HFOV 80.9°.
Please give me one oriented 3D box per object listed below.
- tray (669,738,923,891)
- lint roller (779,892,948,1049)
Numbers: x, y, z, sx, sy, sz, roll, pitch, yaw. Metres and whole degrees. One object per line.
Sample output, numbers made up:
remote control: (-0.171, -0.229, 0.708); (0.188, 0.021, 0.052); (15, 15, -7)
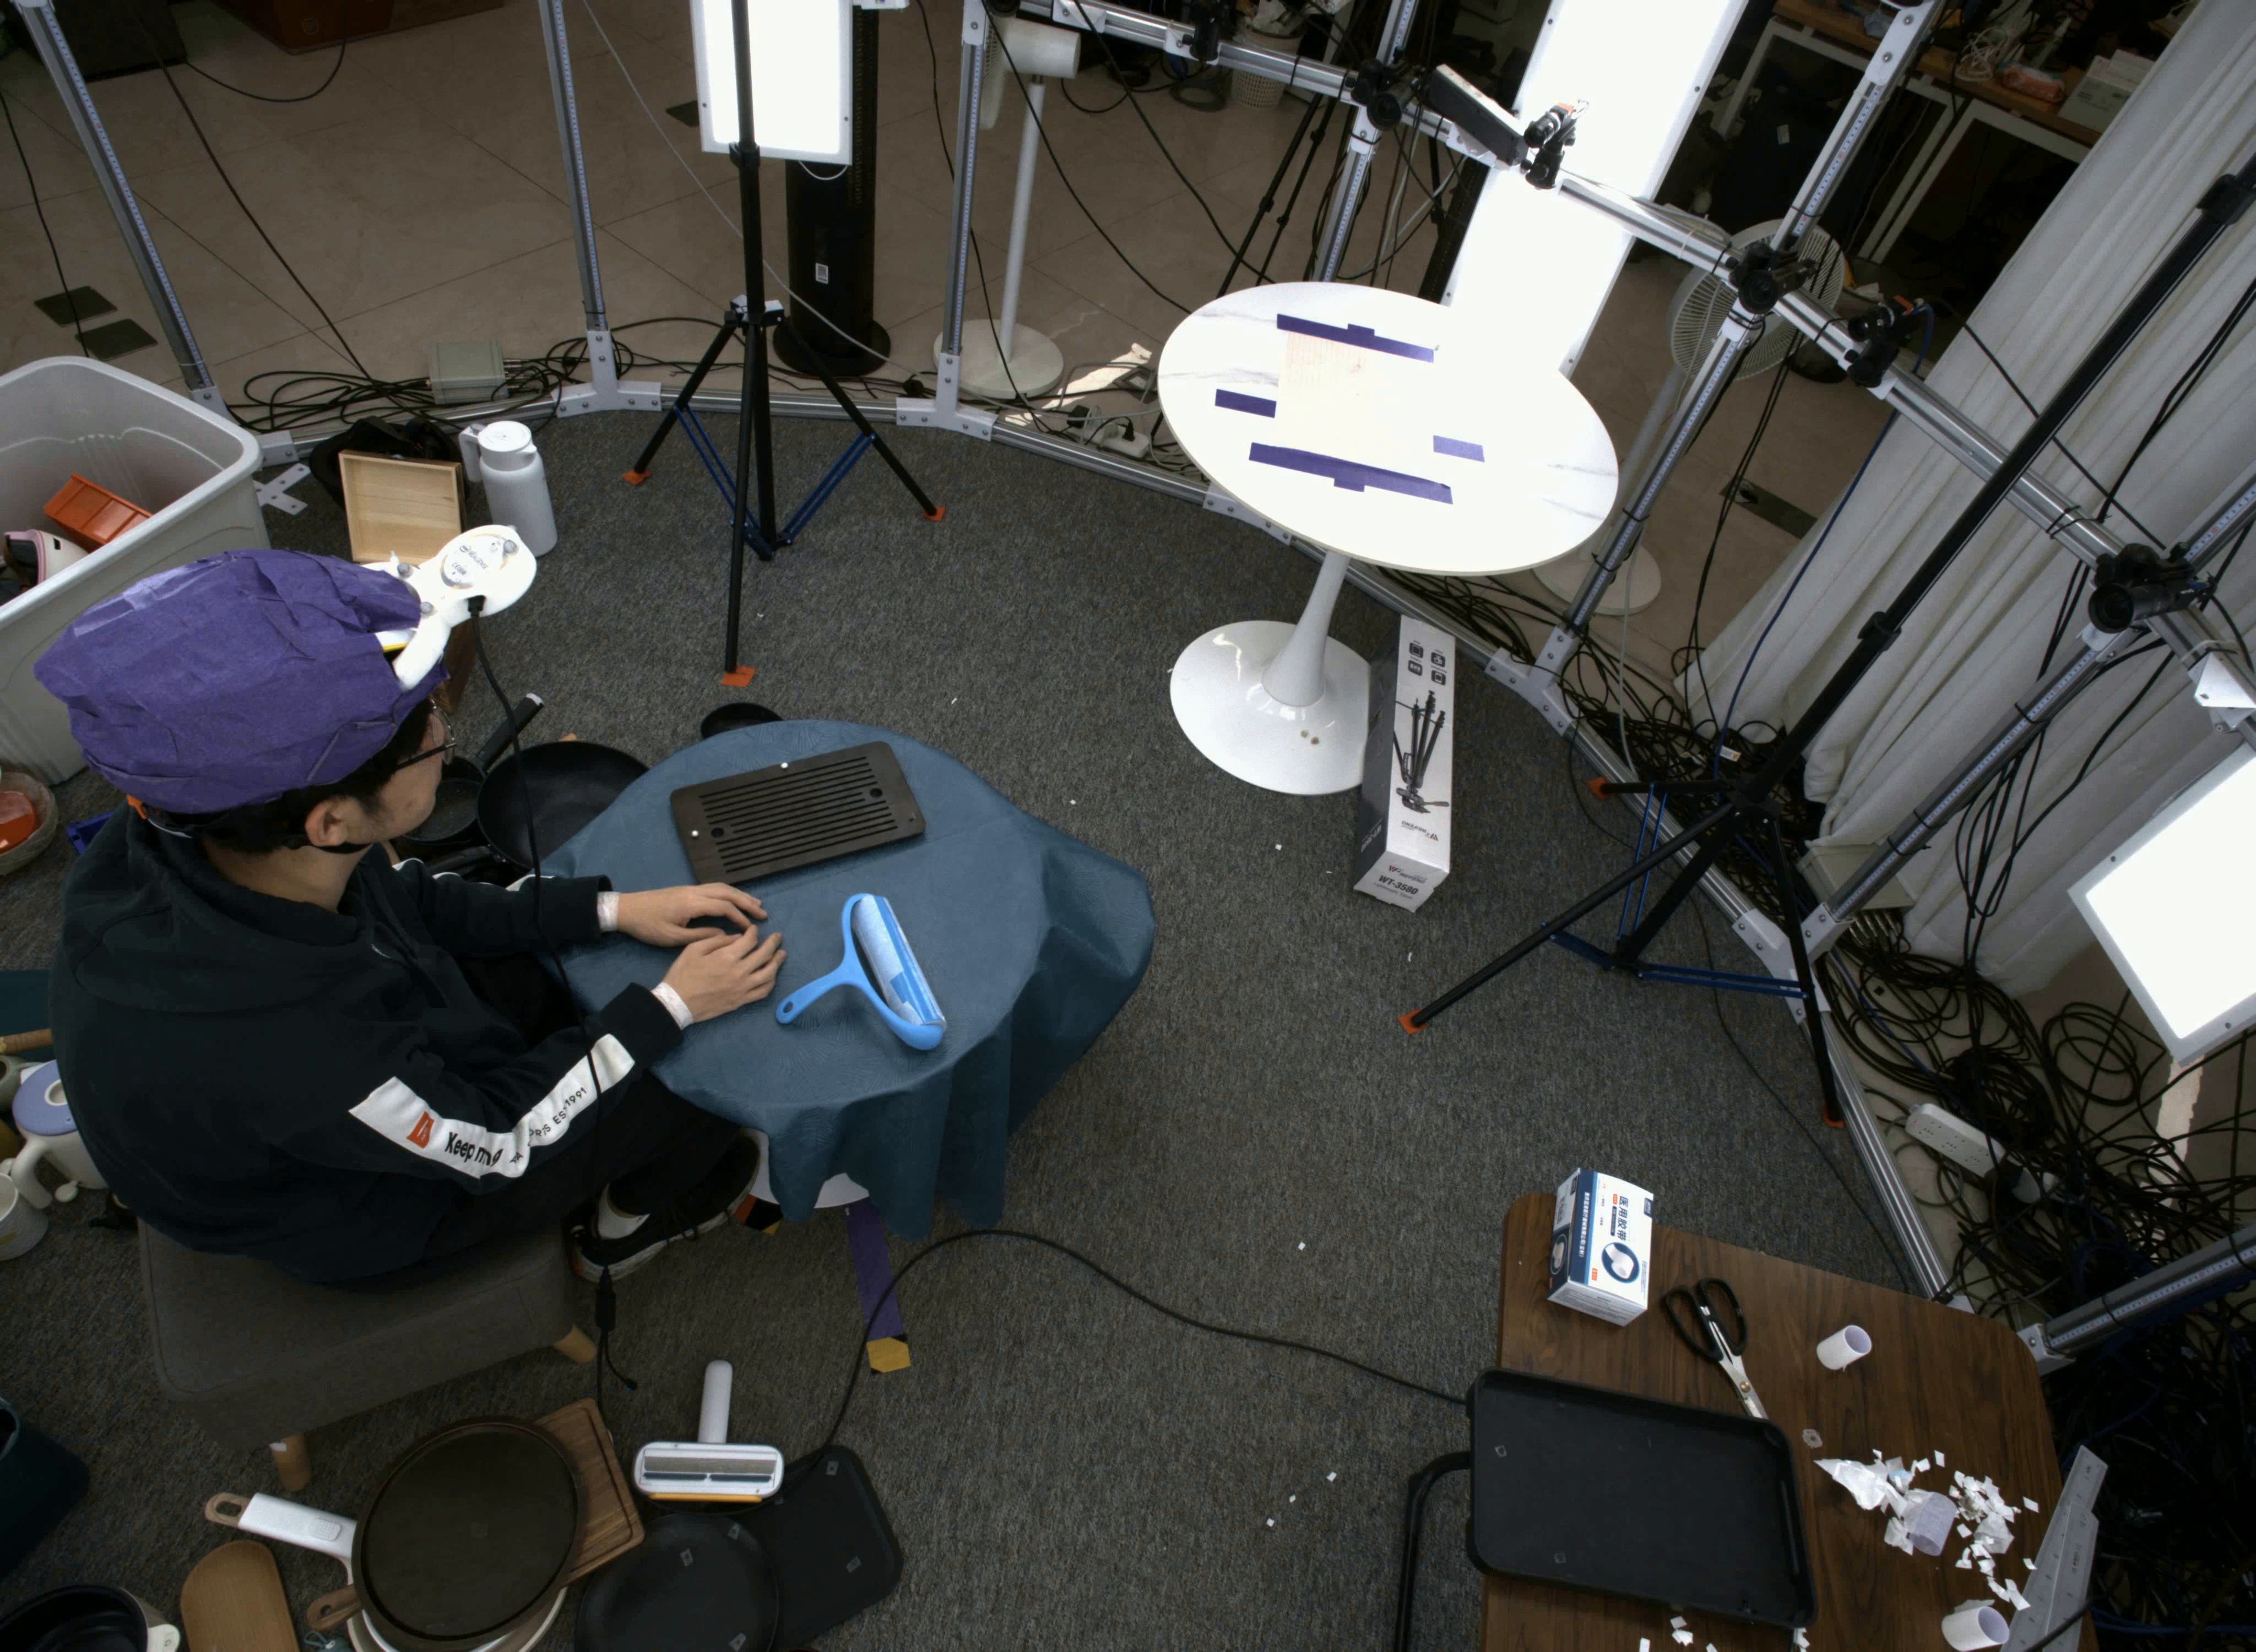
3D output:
tray: (-0.441, -0.019, 1.727); (0.307, 0.019, 0.166); (-16, 60, -25)
lint roller: (-0.335, 0.190, 1.576); (0.181, 0.069, 0.224); (-20, 63, -28)
